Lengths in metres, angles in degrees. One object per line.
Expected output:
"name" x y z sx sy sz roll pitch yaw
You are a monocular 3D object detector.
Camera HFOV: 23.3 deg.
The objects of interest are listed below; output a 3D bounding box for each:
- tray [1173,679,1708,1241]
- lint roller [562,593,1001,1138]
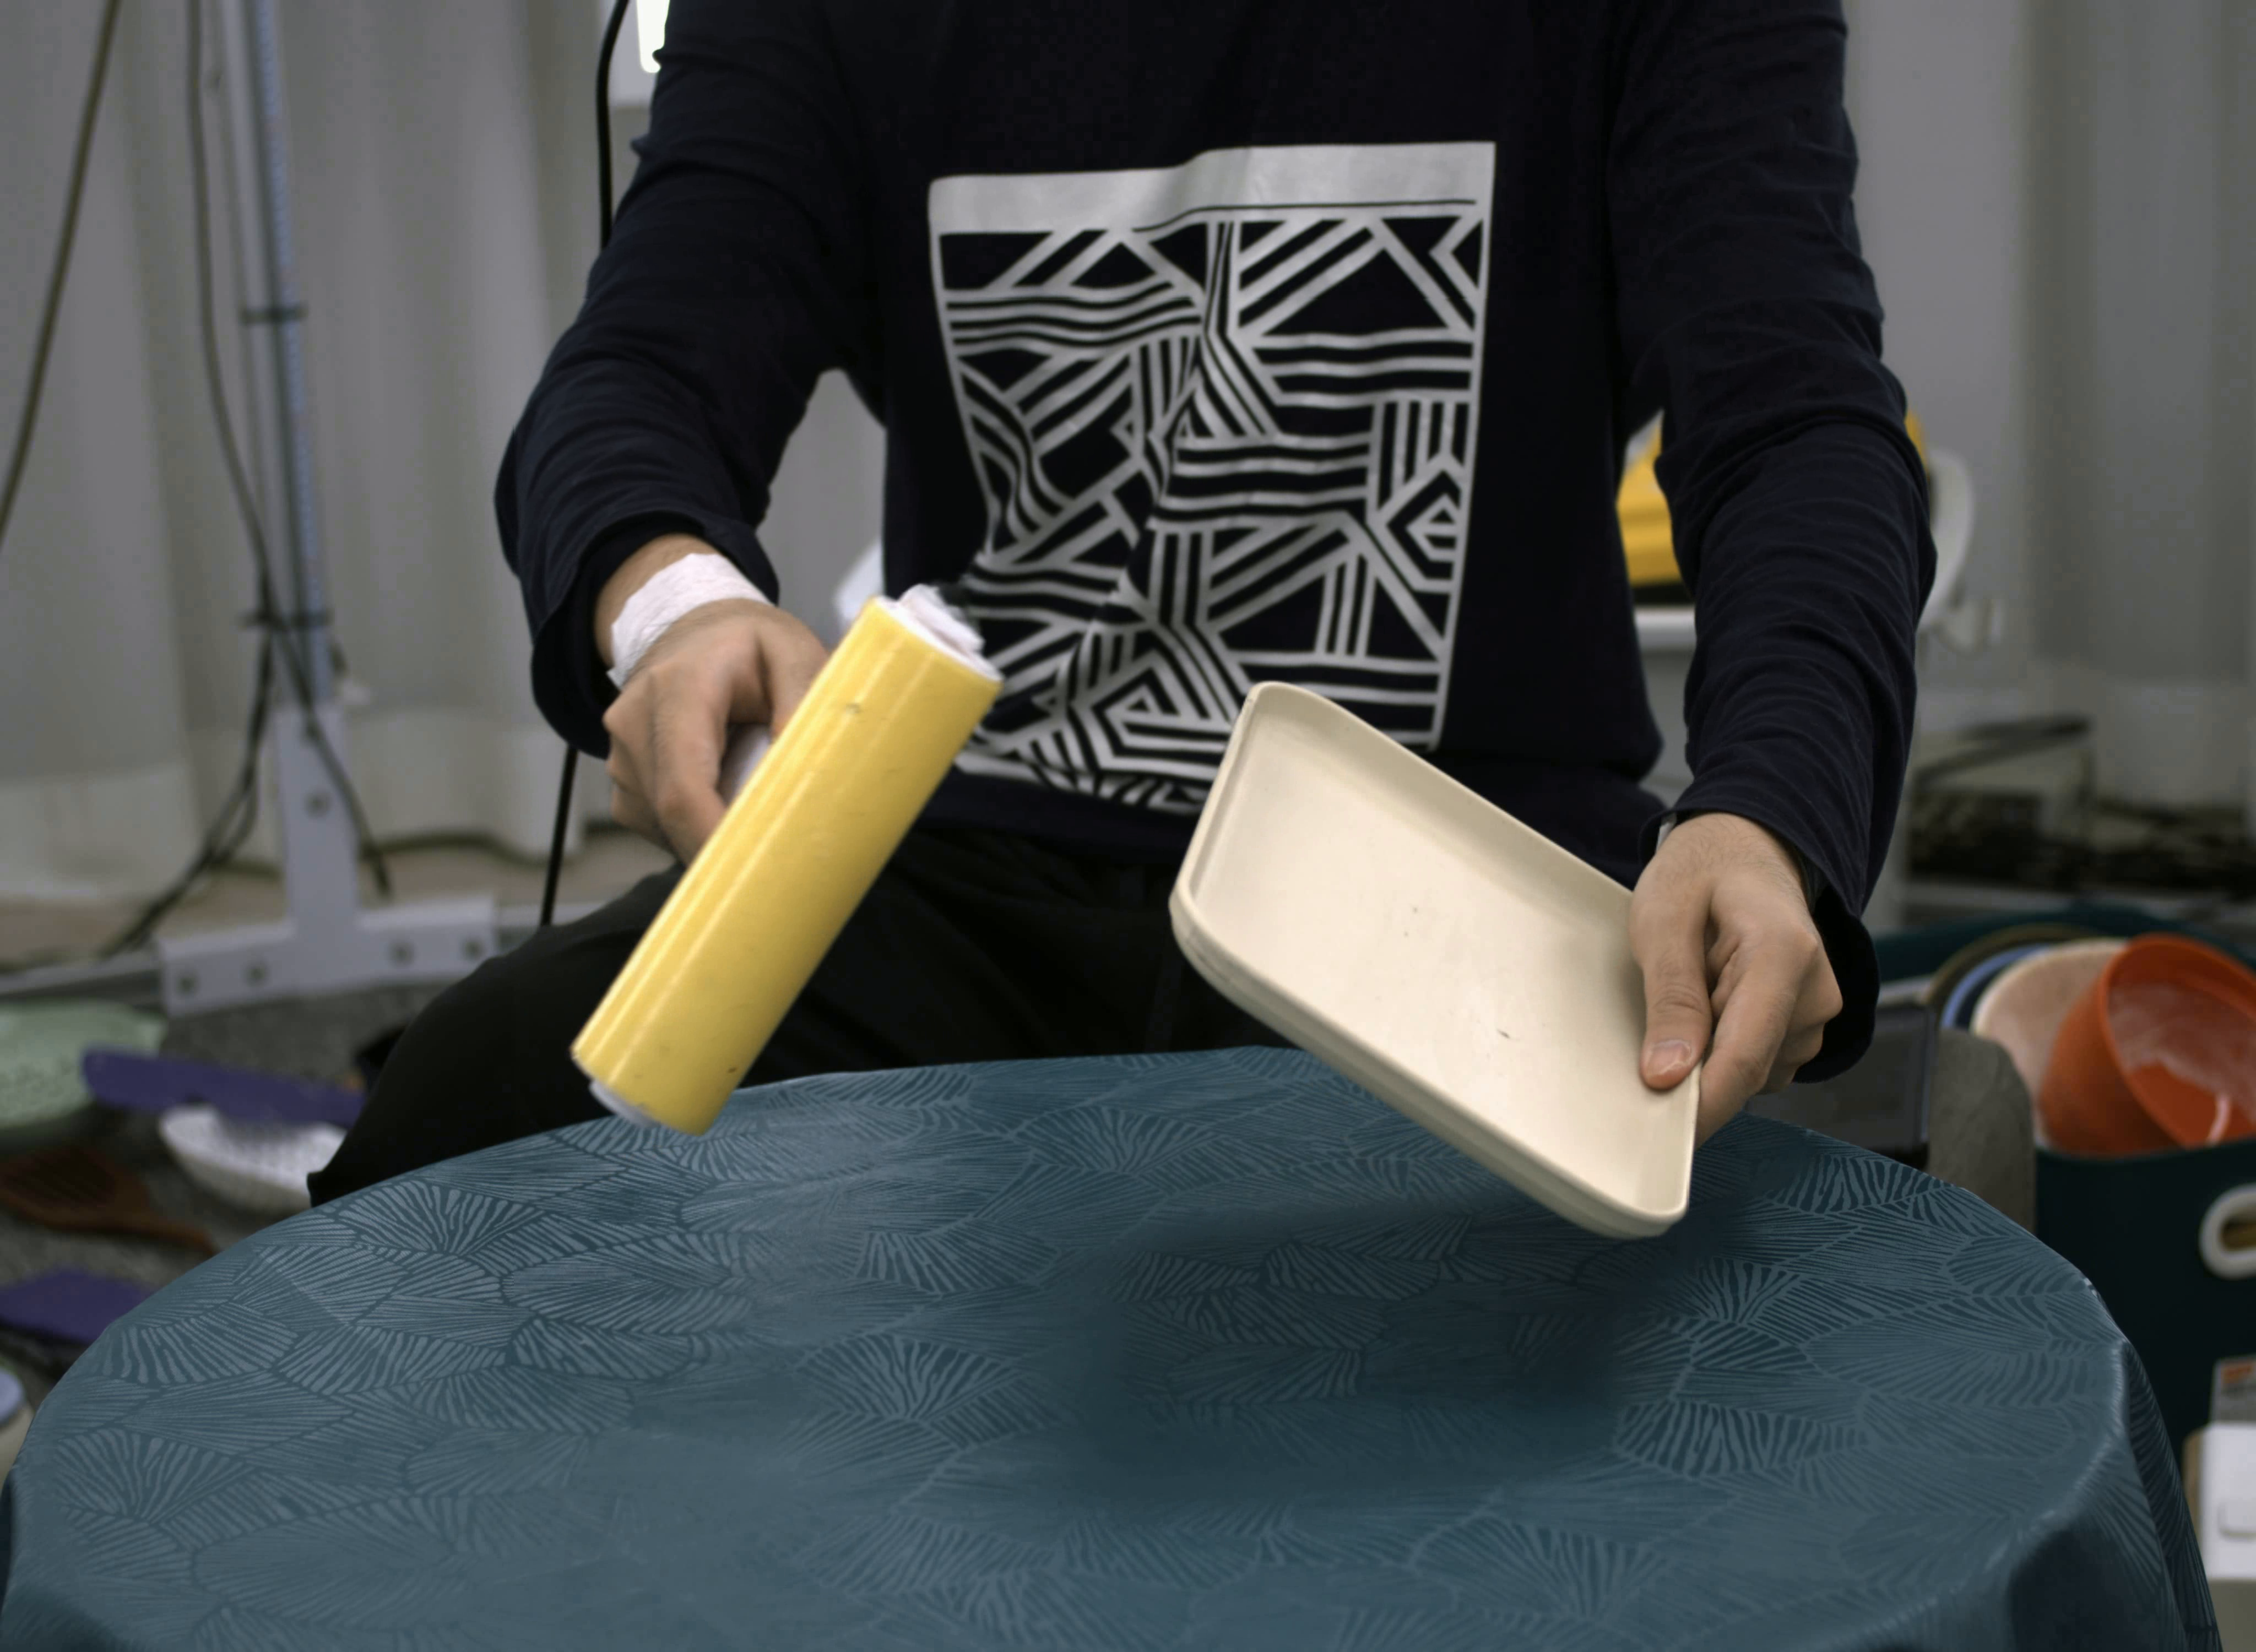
"tray" 0.093 0.037 1.598 0.171 0.017 0.241 33 20 -3
"lint roller" -0.122 -0.007 1.657 0.051 0.174 0.194 33 4 -24
